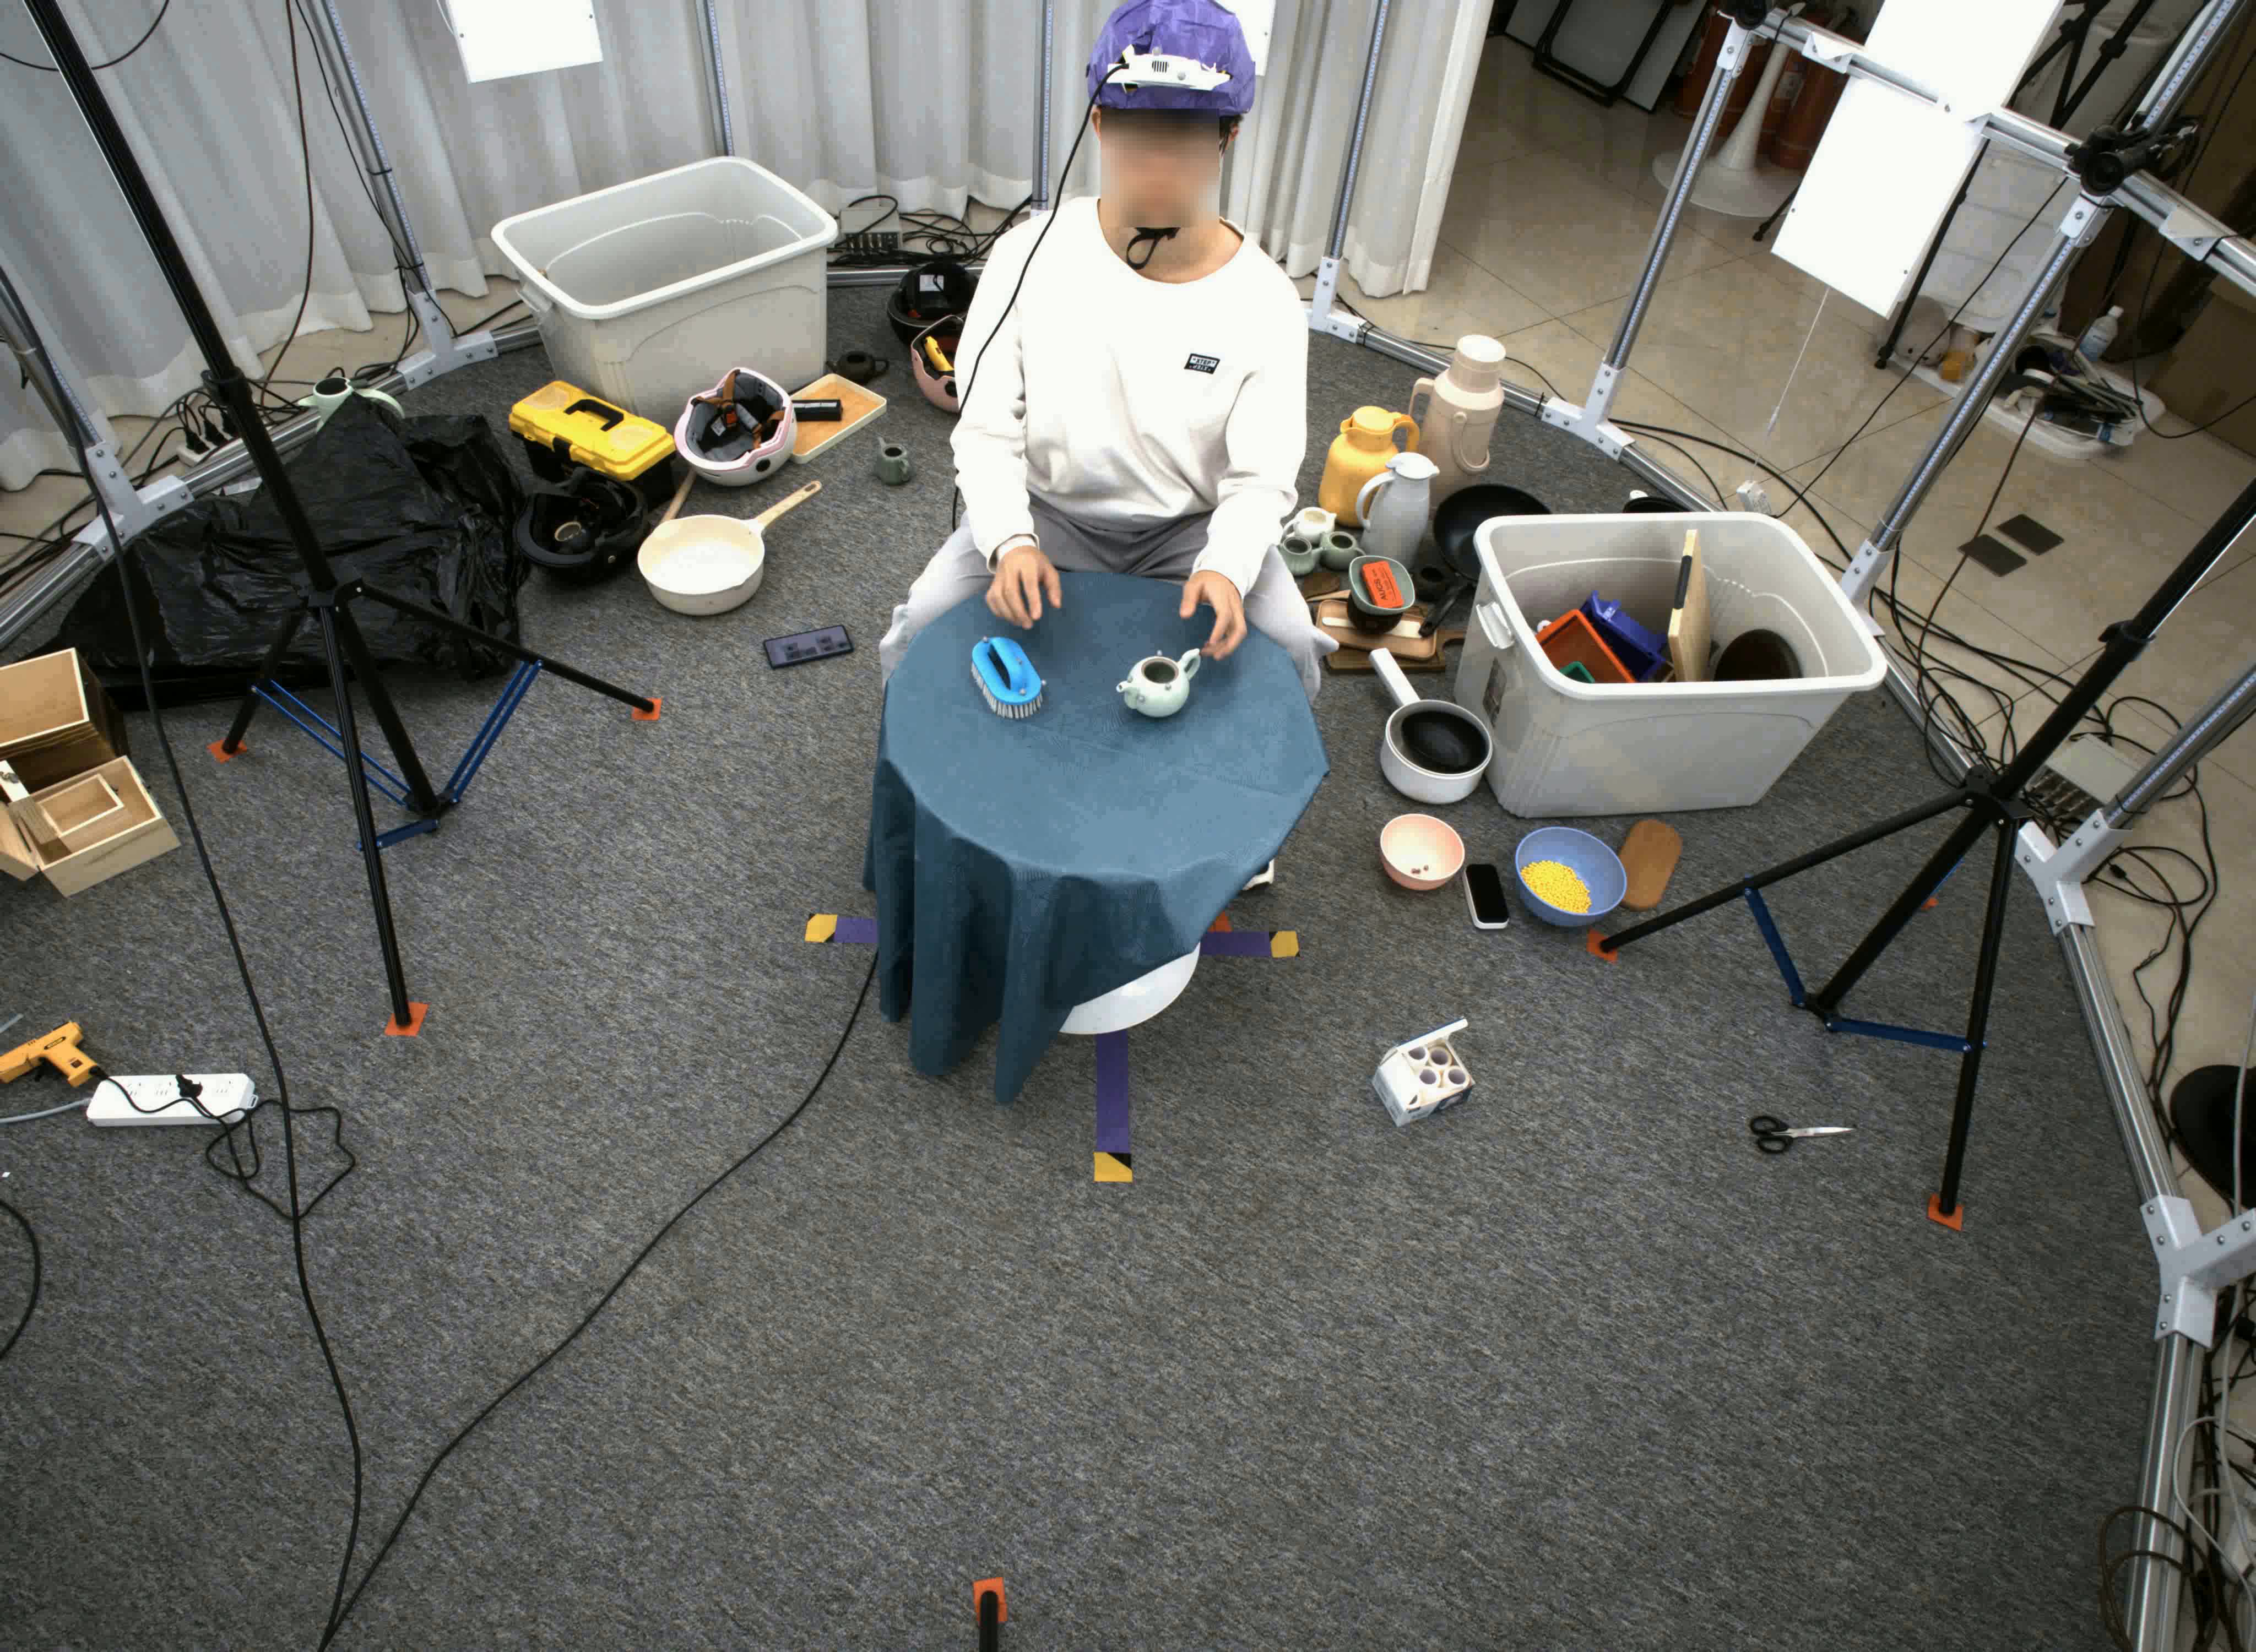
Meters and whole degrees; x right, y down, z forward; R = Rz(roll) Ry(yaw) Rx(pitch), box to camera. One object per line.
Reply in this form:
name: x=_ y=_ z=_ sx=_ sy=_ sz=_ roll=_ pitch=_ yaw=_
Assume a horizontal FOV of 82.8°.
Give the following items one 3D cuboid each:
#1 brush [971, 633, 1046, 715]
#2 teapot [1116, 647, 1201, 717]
brush: x=-0.170 y=-0.224 z=1.804 sx=0.084 sy=0.062 sz=0.145 roll=-19 pitch=52 yaw=-14
teapot: x=0.043 y=-0.196 z=1.791 sx=0.144 sy=0.073 sz=0.090 roll=-27 pitch=55 yaw=-22
